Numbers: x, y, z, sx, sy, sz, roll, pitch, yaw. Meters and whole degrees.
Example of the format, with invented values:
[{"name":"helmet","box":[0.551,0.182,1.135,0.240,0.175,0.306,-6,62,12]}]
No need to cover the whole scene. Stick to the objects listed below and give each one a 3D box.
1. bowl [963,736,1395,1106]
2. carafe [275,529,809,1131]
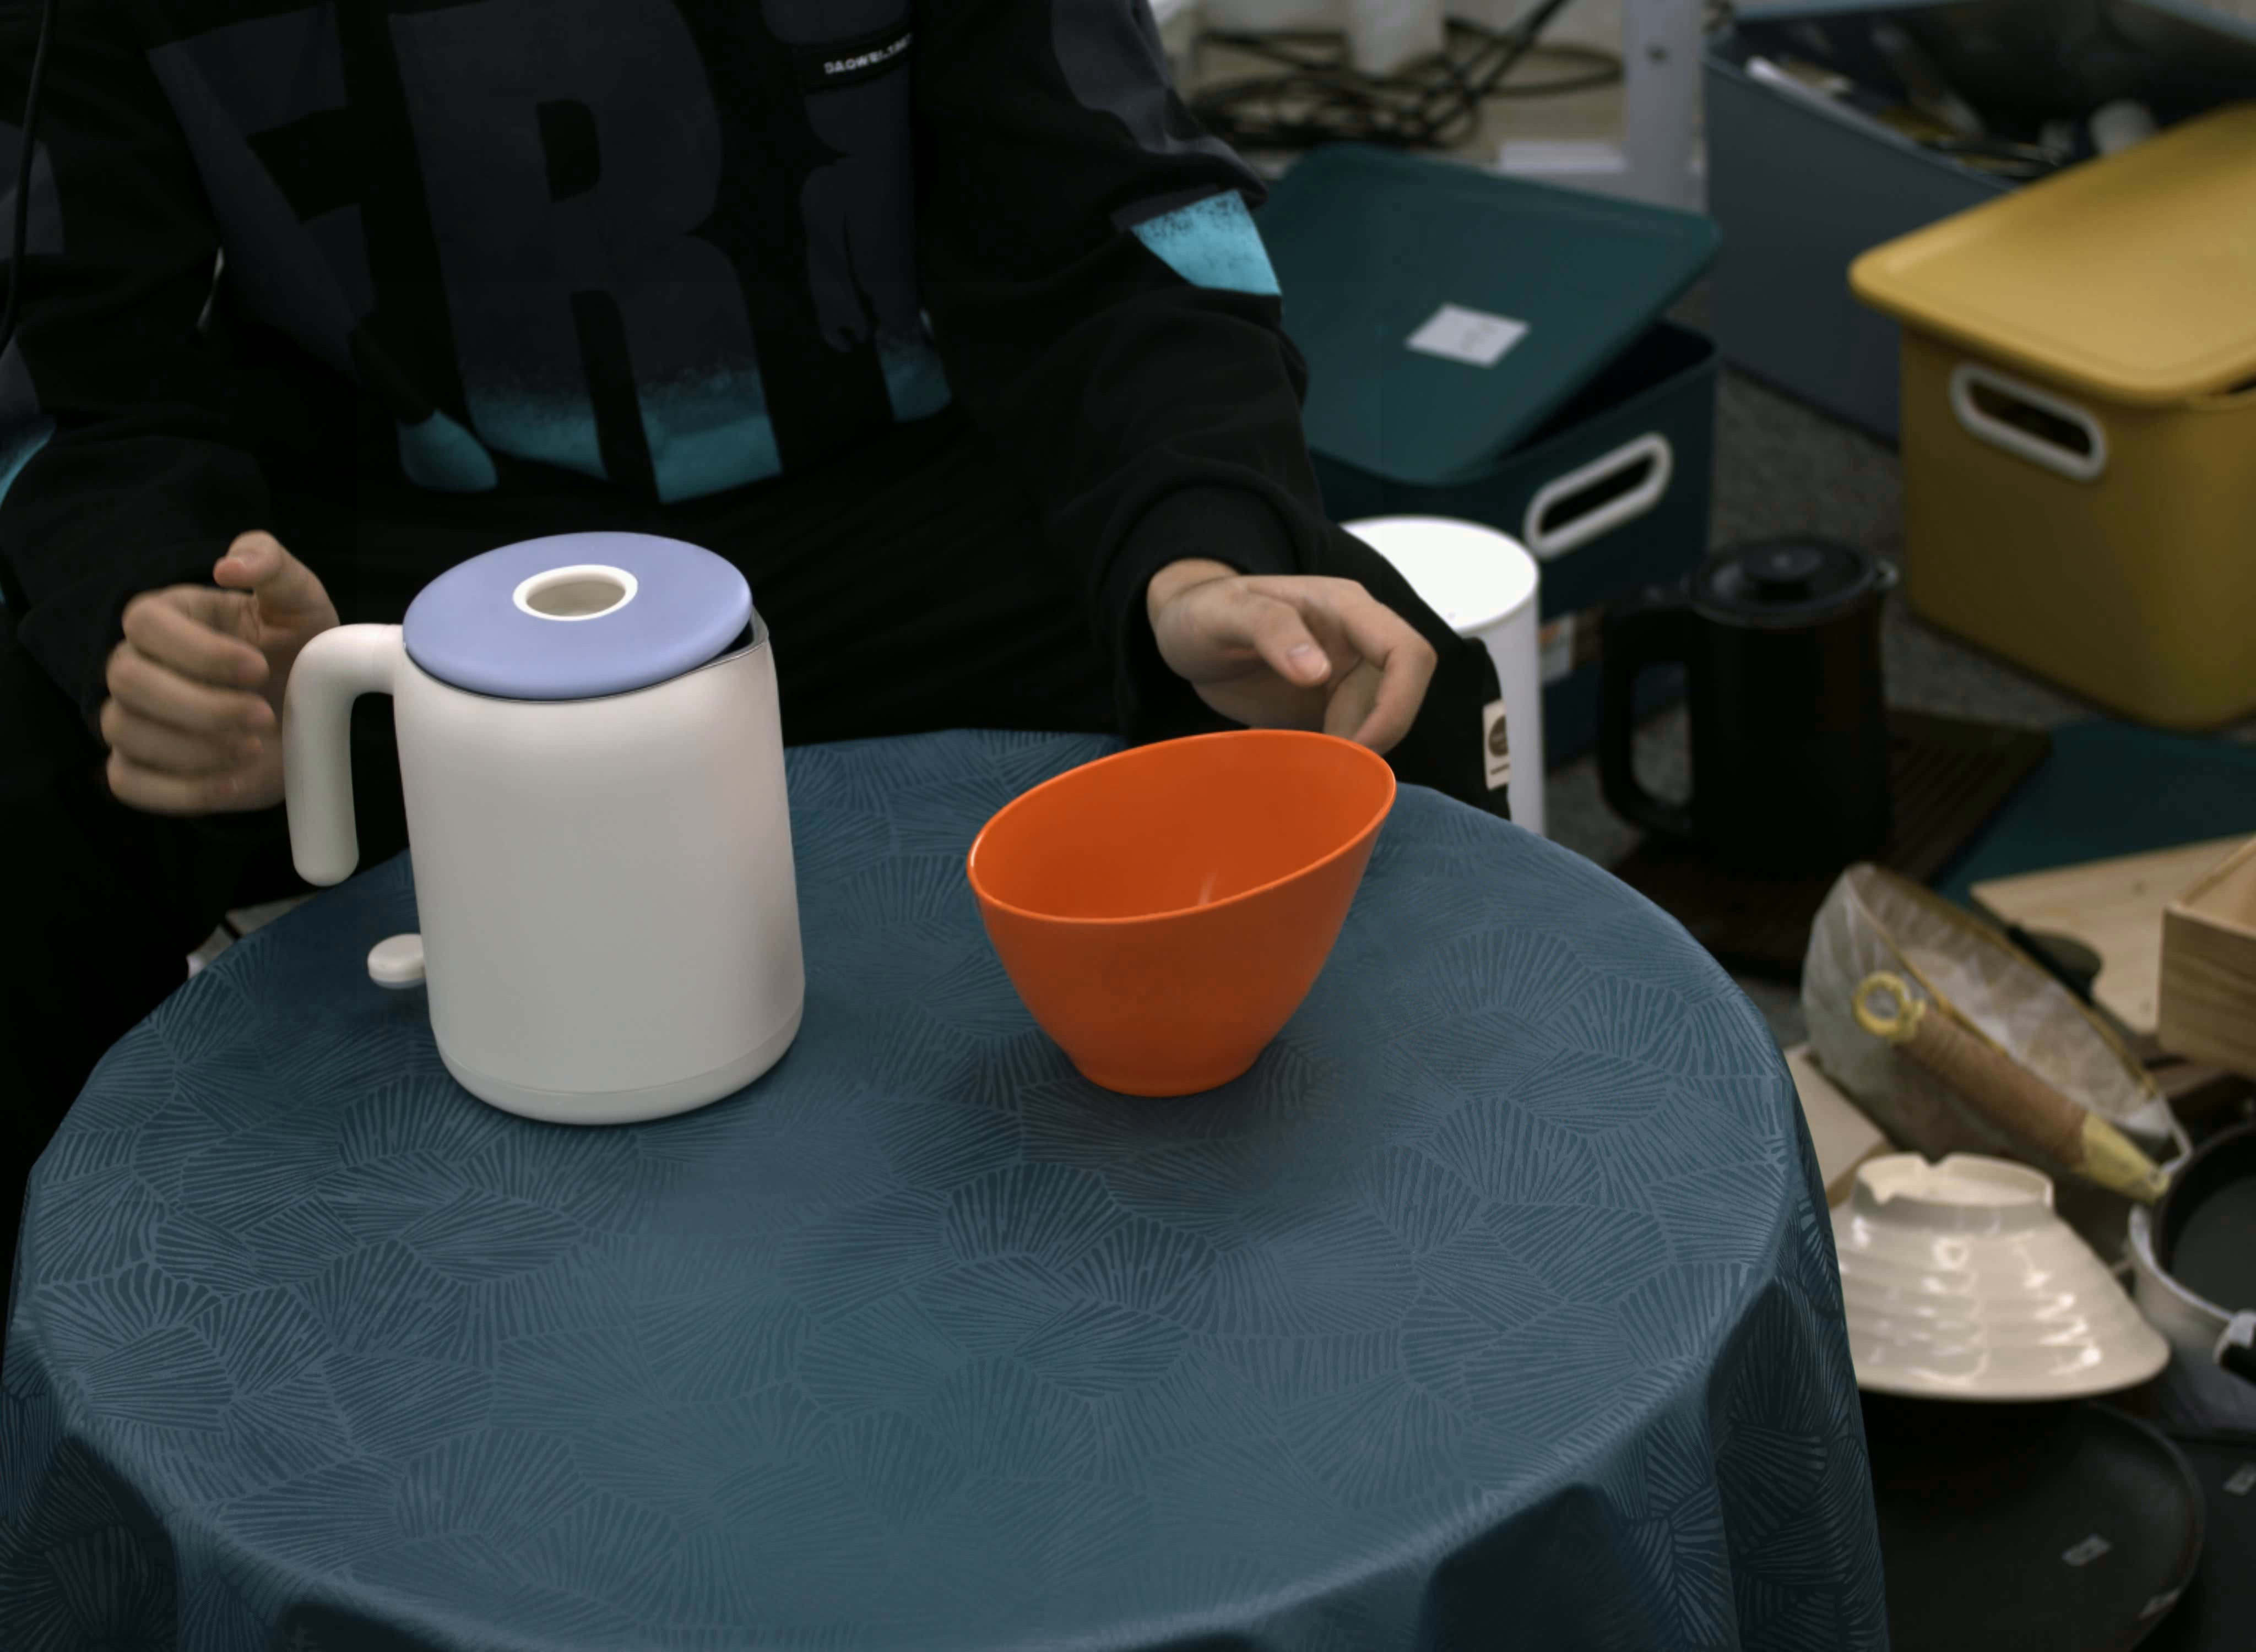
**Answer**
[{"name":"bowl","box":[0.018,0.037,1.914,0.147,0.103,0.150,-2,27,1]},{"name":"carafe","box":[-0.204,0.000,1.933,0.189,0.181,0.134,3,26,17]}]
